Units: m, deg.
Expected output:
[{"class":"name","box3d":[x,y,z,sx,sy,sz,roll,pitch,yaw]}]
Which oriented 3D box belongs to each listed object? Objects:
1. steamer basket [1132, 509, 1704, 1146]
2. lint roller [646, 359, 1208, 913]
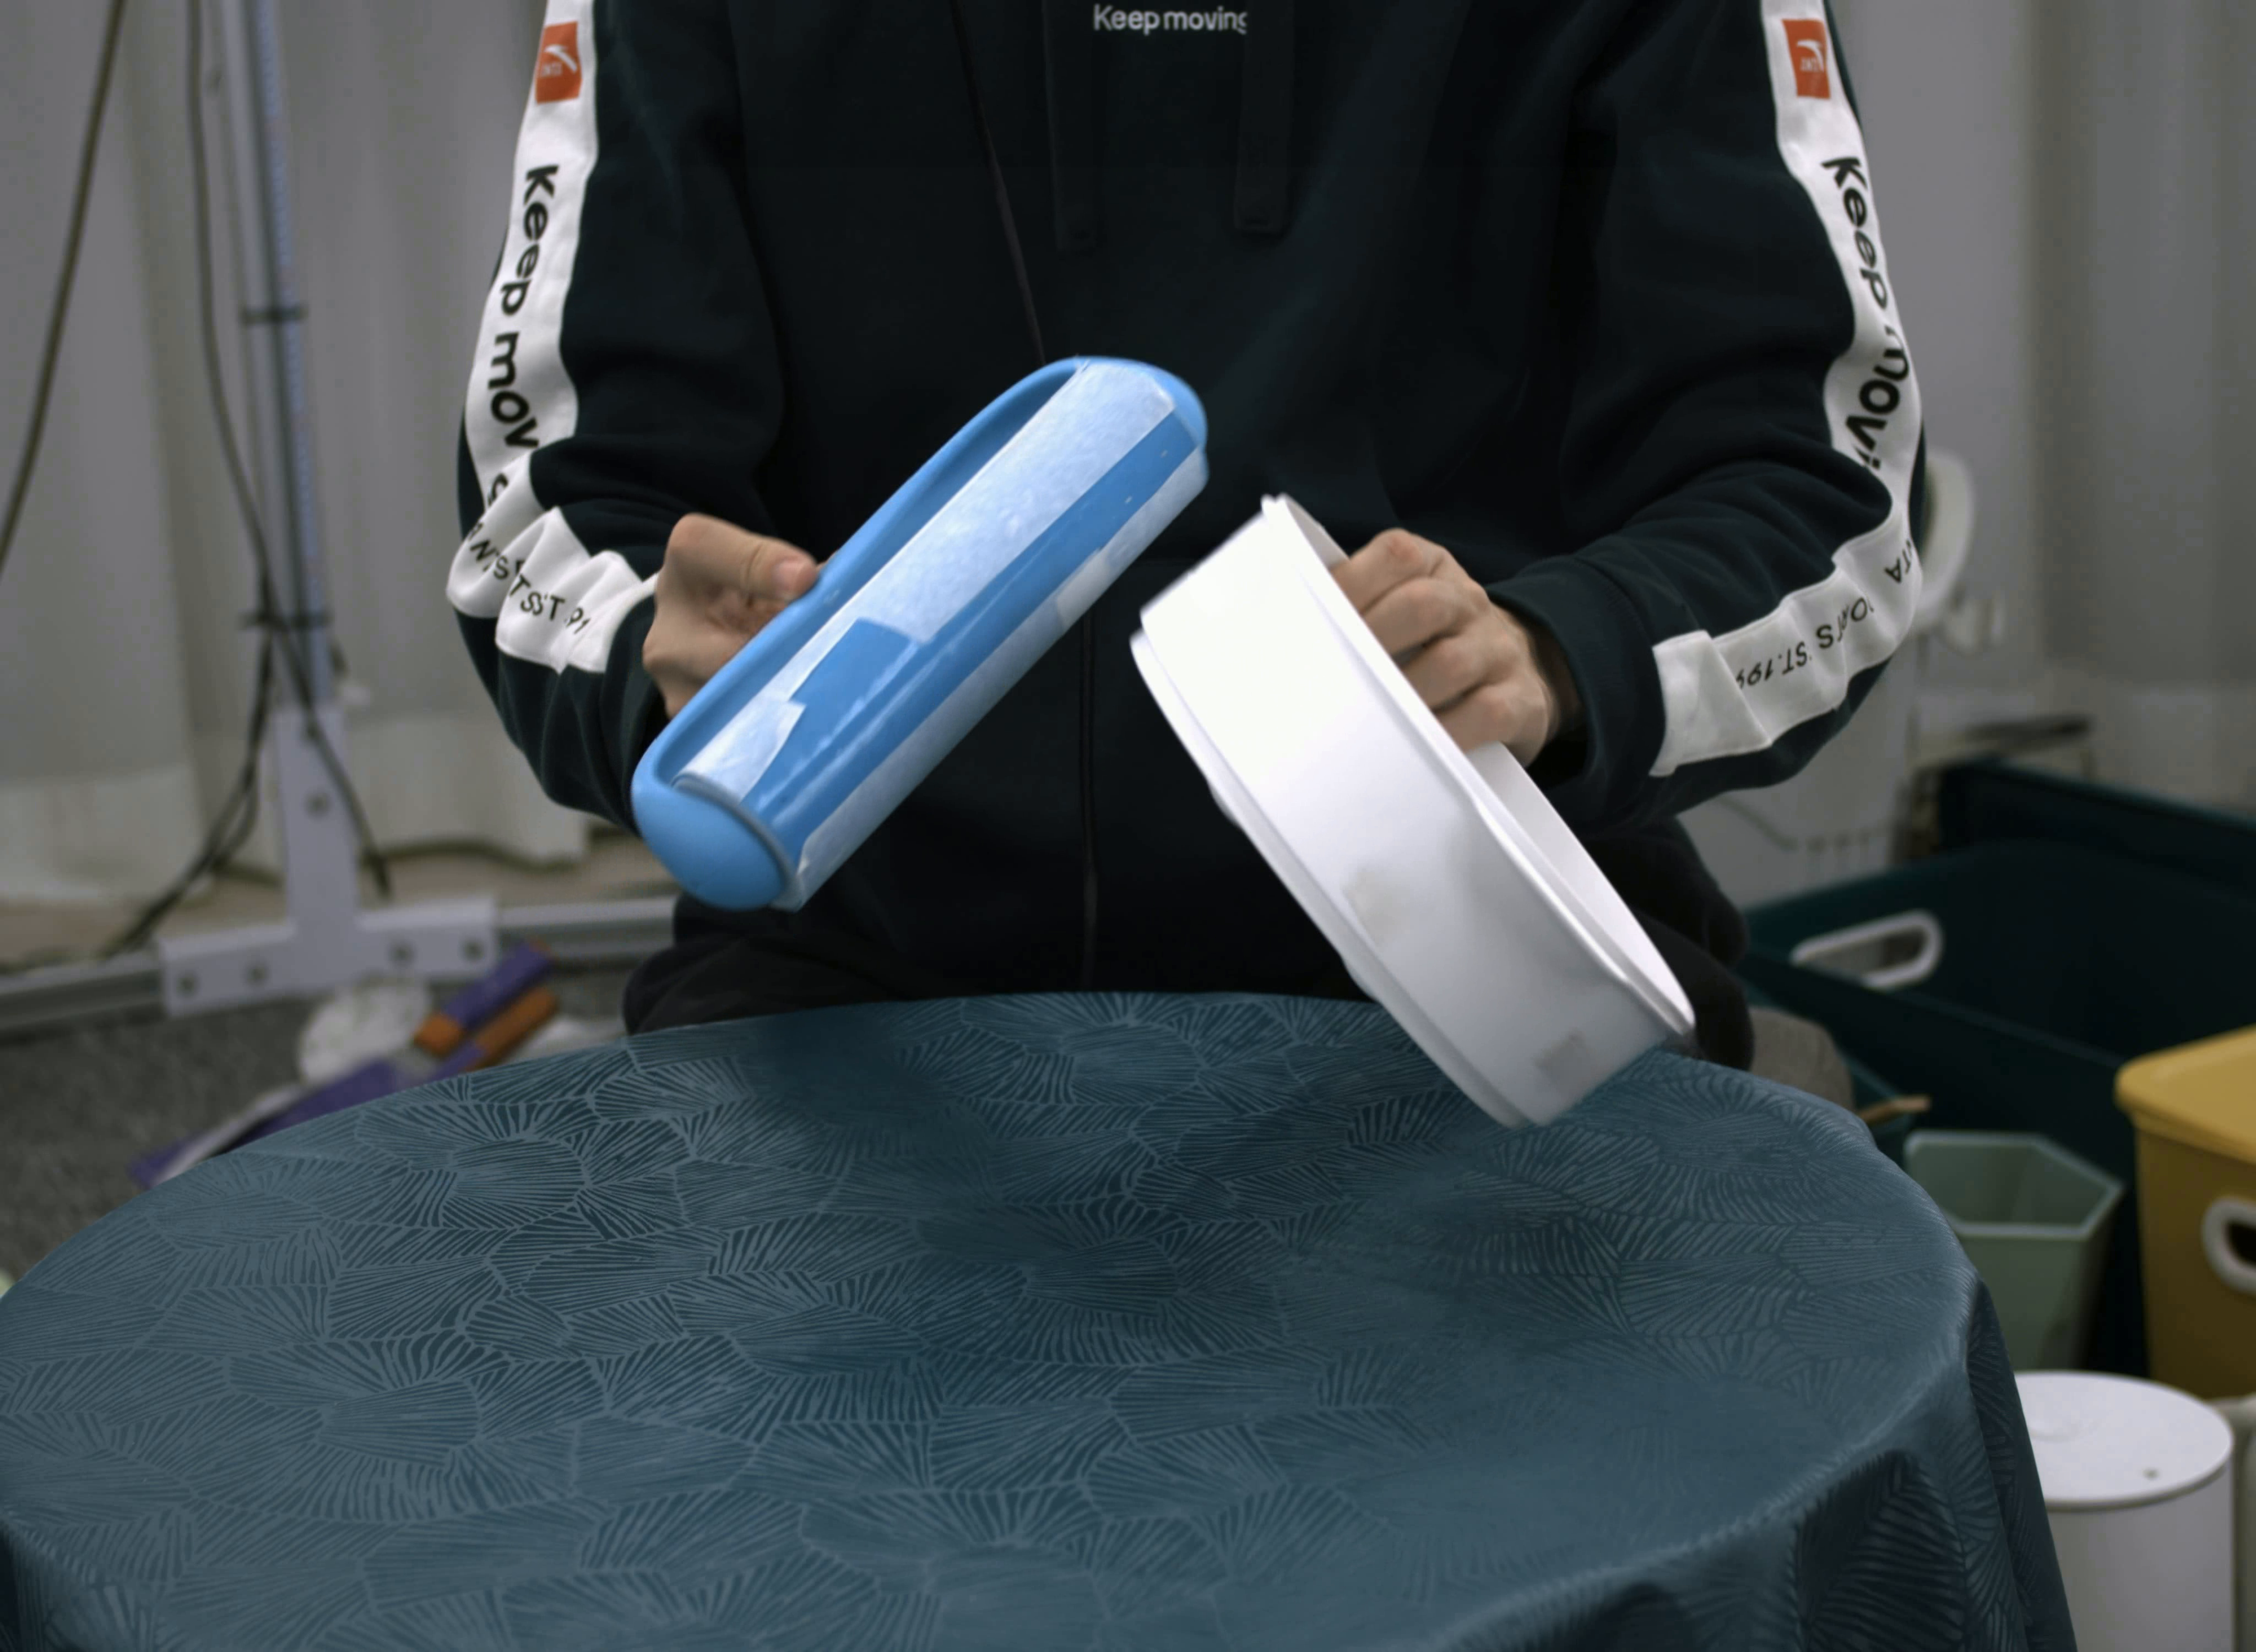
[{"class":"steamer basket","box3d":[0.083,0.004,1.612,0.069,0.200,0.233,-39,24,5]},{"class":"lint roller","box3d":[-0.081,-0.046,1.696,0.230,0.067,0.180,-50,12,-28]}]
